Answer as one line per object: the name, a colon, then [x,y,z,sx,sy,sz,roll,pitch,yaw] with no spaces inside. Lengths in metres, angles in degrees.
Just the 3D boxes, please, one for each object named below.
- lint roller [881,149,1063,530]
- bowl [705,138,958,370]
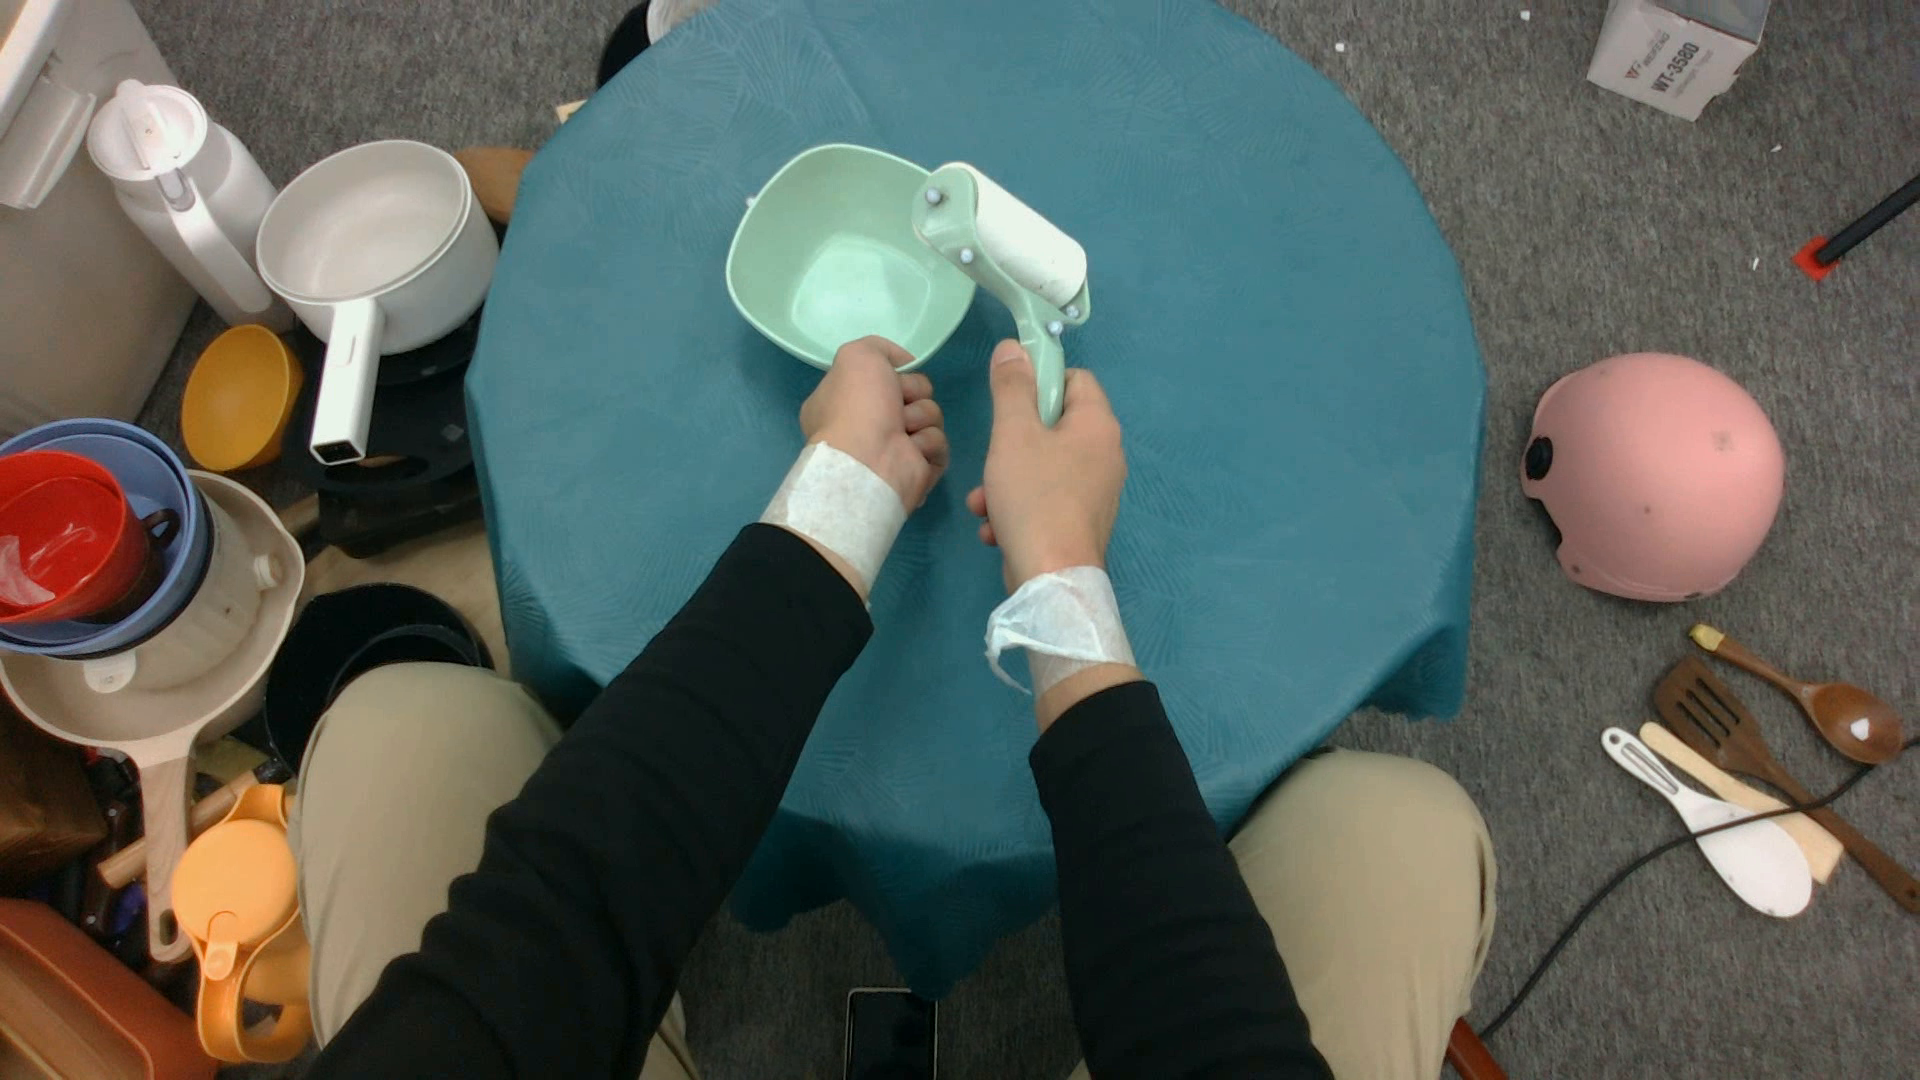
lint roller: [0.016,-0.103,0.723,0.048,0.117,0.198,-22,65,32]
bowl: [-0.070,-0.157,0.805,0.151,0.058,0.152,1,69,-2]
